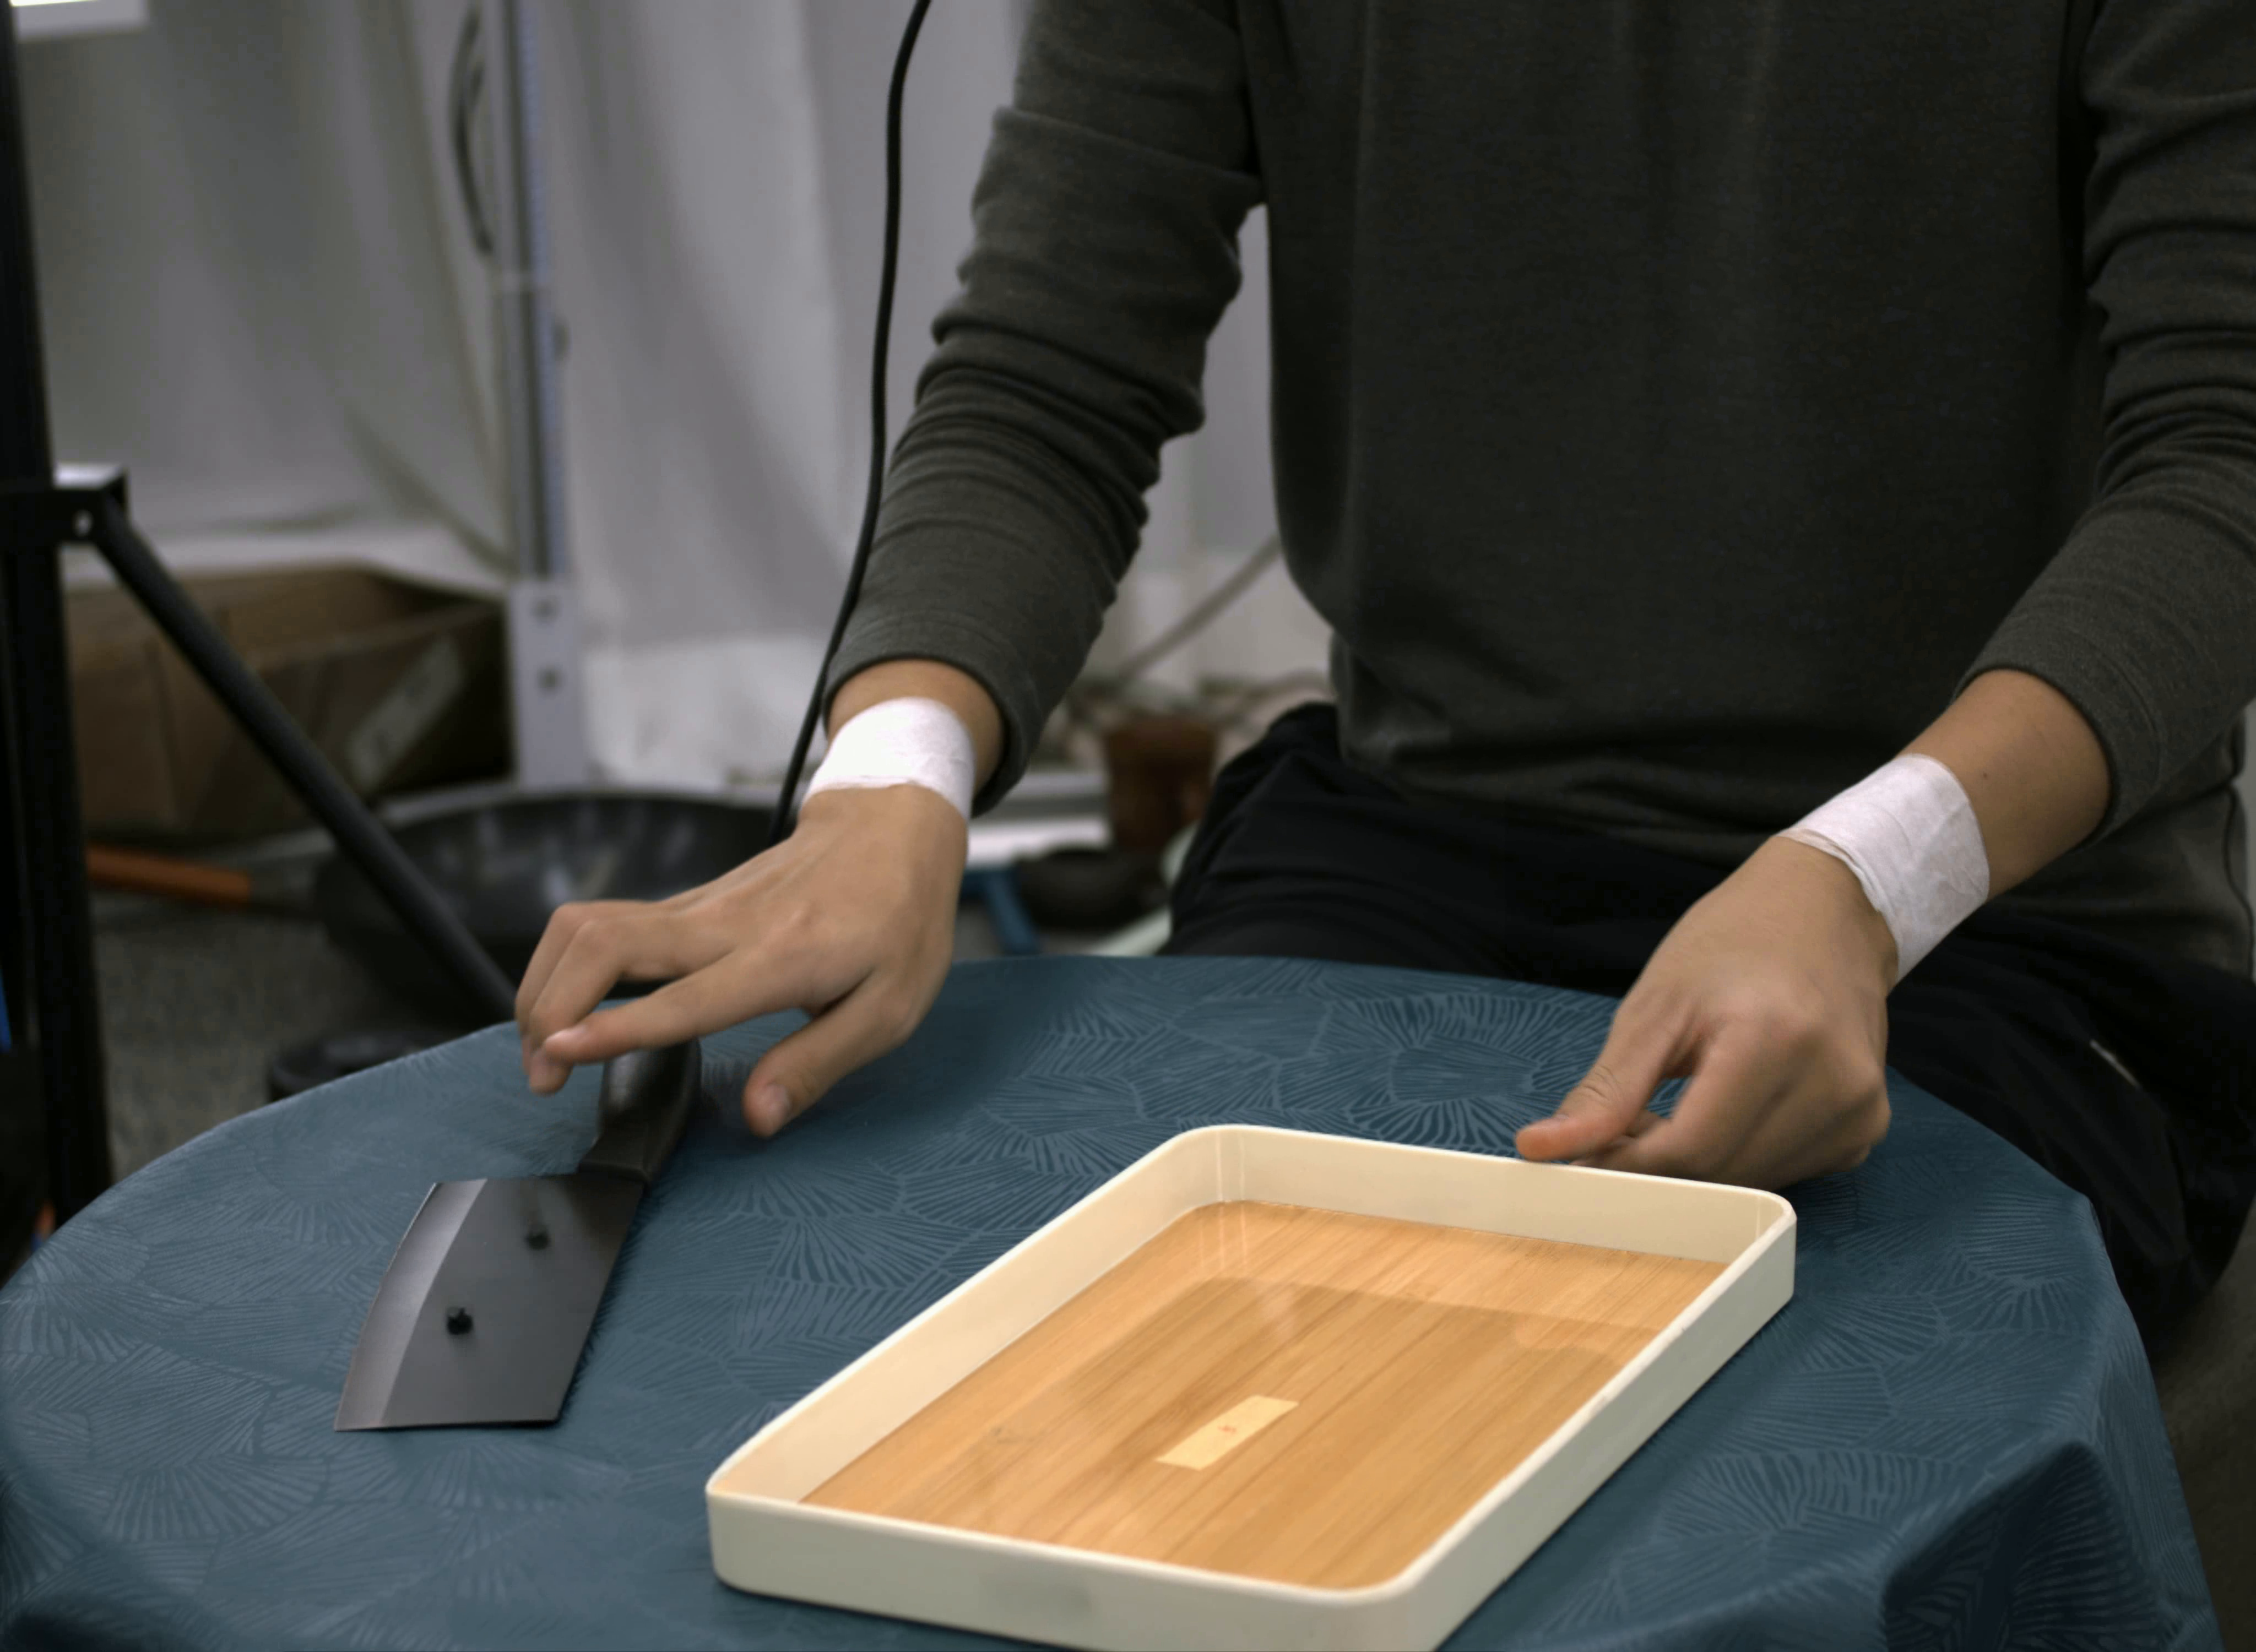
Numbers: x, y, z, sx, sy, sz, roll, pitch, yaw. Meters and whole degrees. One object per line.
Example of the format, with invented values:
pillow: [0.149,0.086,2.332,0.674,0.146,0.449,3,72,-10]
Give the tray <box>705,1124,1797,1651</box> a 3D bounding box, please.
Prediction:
tray: [0.041,0.144,1.377,0.195,0.027,0.295,6,18,26]

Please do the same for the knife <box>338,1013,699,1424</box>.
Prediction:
knife: [-0.170,0.113,1.548,0.081,0.021,0.302,-2,17,8]
